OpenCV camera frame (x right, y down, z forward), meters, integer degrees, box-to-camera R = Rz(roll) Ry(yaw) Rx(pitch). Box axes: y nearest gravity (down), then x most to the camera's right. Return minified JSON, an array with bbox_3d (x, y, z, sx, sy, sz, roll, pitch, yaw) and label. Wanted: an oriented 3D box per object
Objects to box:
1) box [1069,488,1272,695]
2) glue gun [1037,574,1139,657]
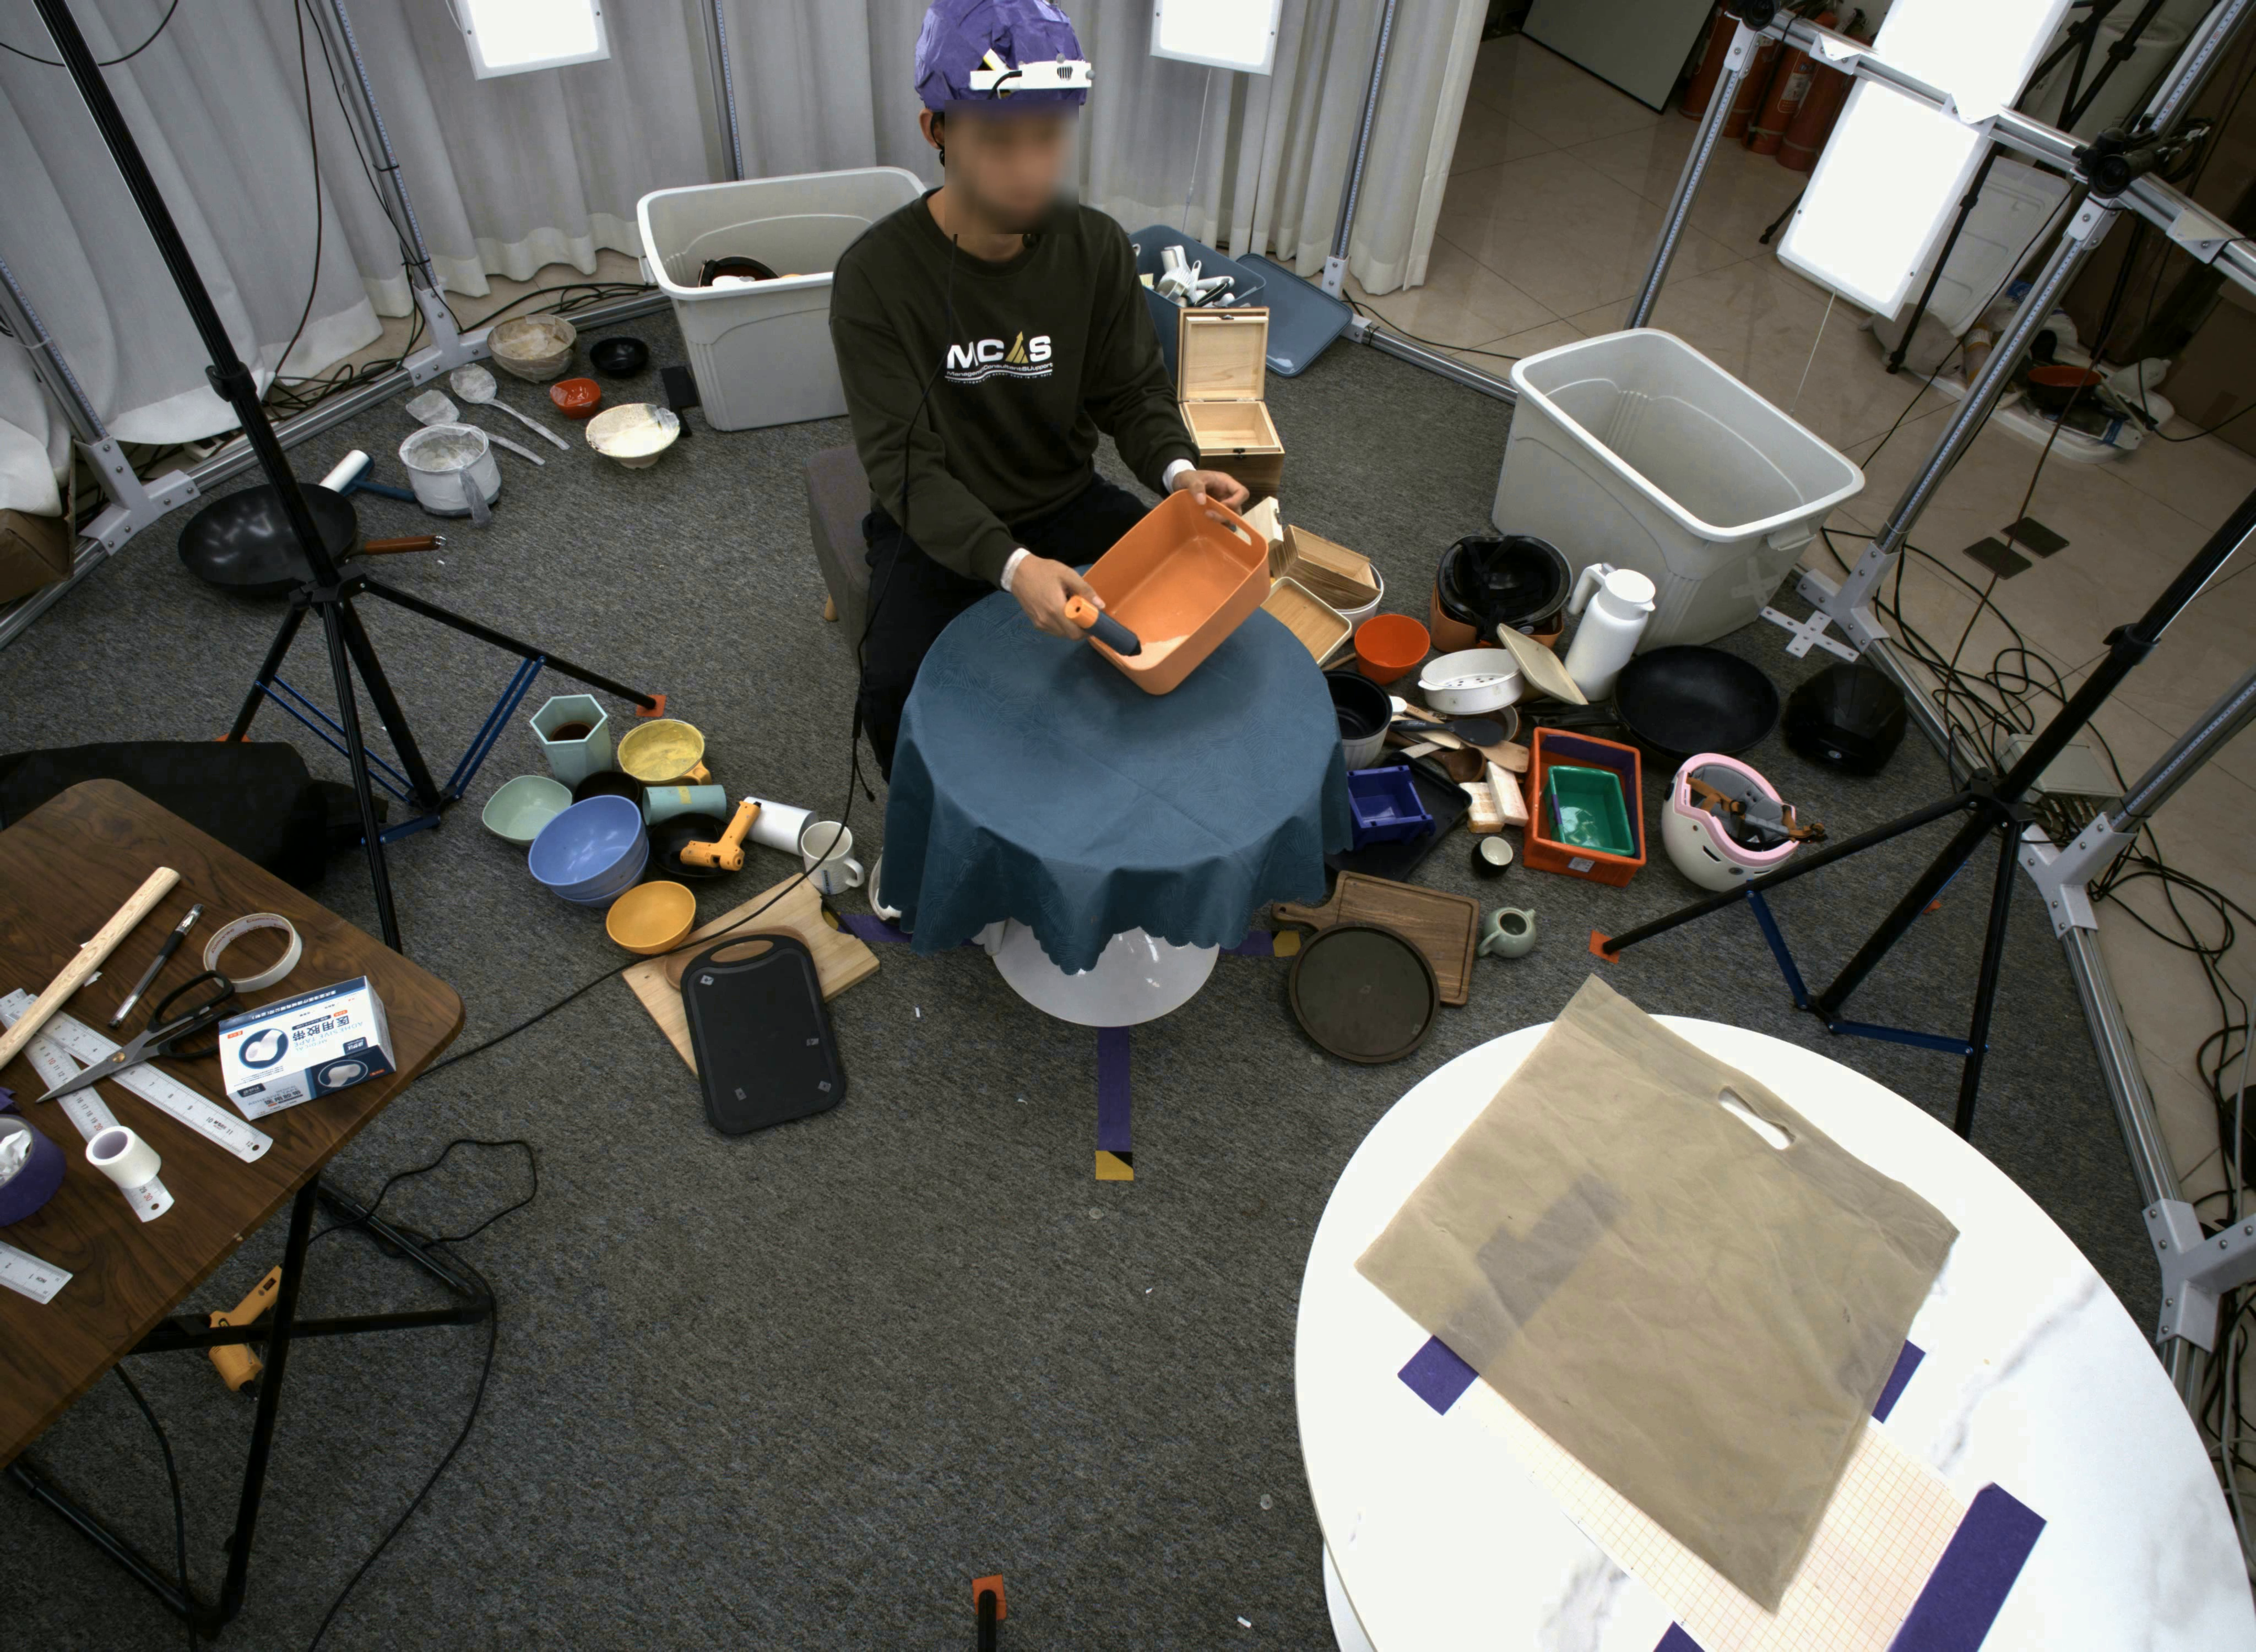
[{"bbox_3d":[0.064,-0.329,1.833,0.274,0.100,0.203,-45,61,-8],"label":"box"},{"bbox_3d":[-0.054,-0.281,1.727,0.041,0.116,0.142,-53,47,7],"label":"glue gun"}]
